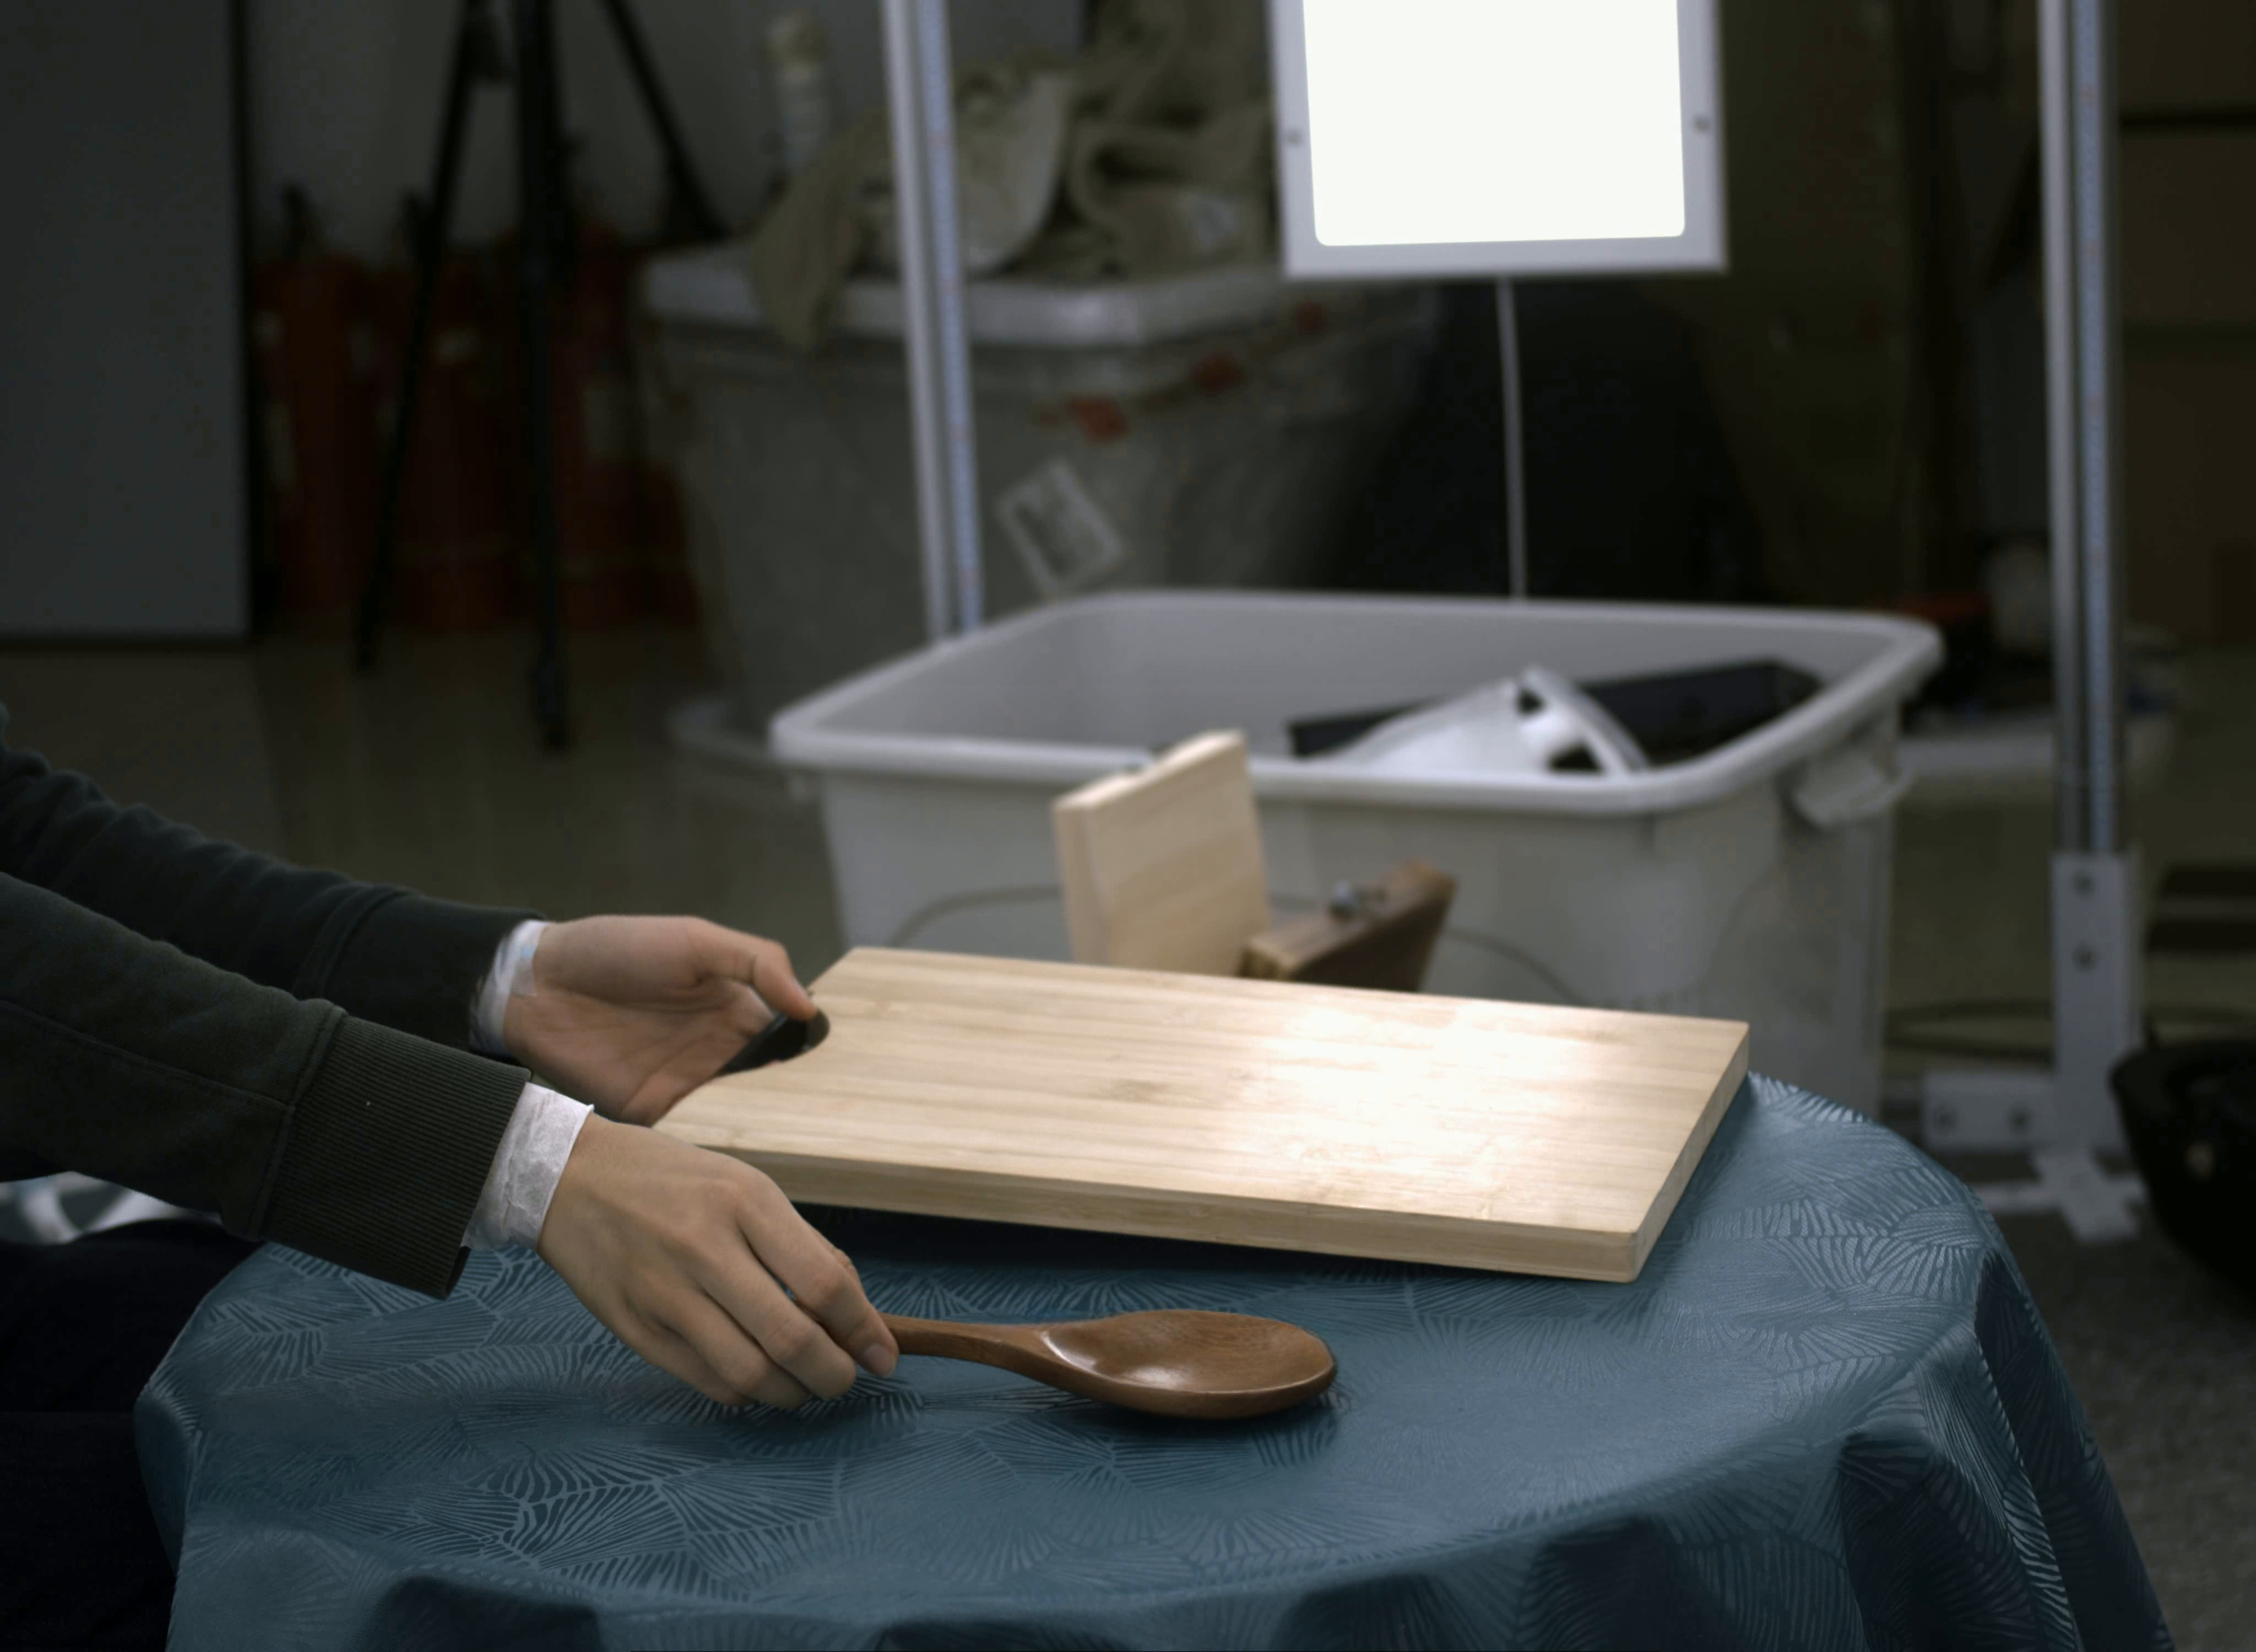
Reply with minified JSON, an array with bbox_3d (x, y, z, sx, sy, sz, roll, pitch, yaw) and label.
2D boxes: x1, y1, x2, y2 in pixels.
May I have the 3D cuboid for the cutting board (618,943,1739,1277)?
[{"bbox_3d":[0.024,0.095,1.917,0.352,0.024,0.247,4,15,15],"label":"cutting board"}]

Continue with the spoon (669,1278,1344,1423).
[{"bbox_3d":[-0.039,0.160,1.704,0.218,0.017,0.074,6,18,16],"label":"spoon"}]
